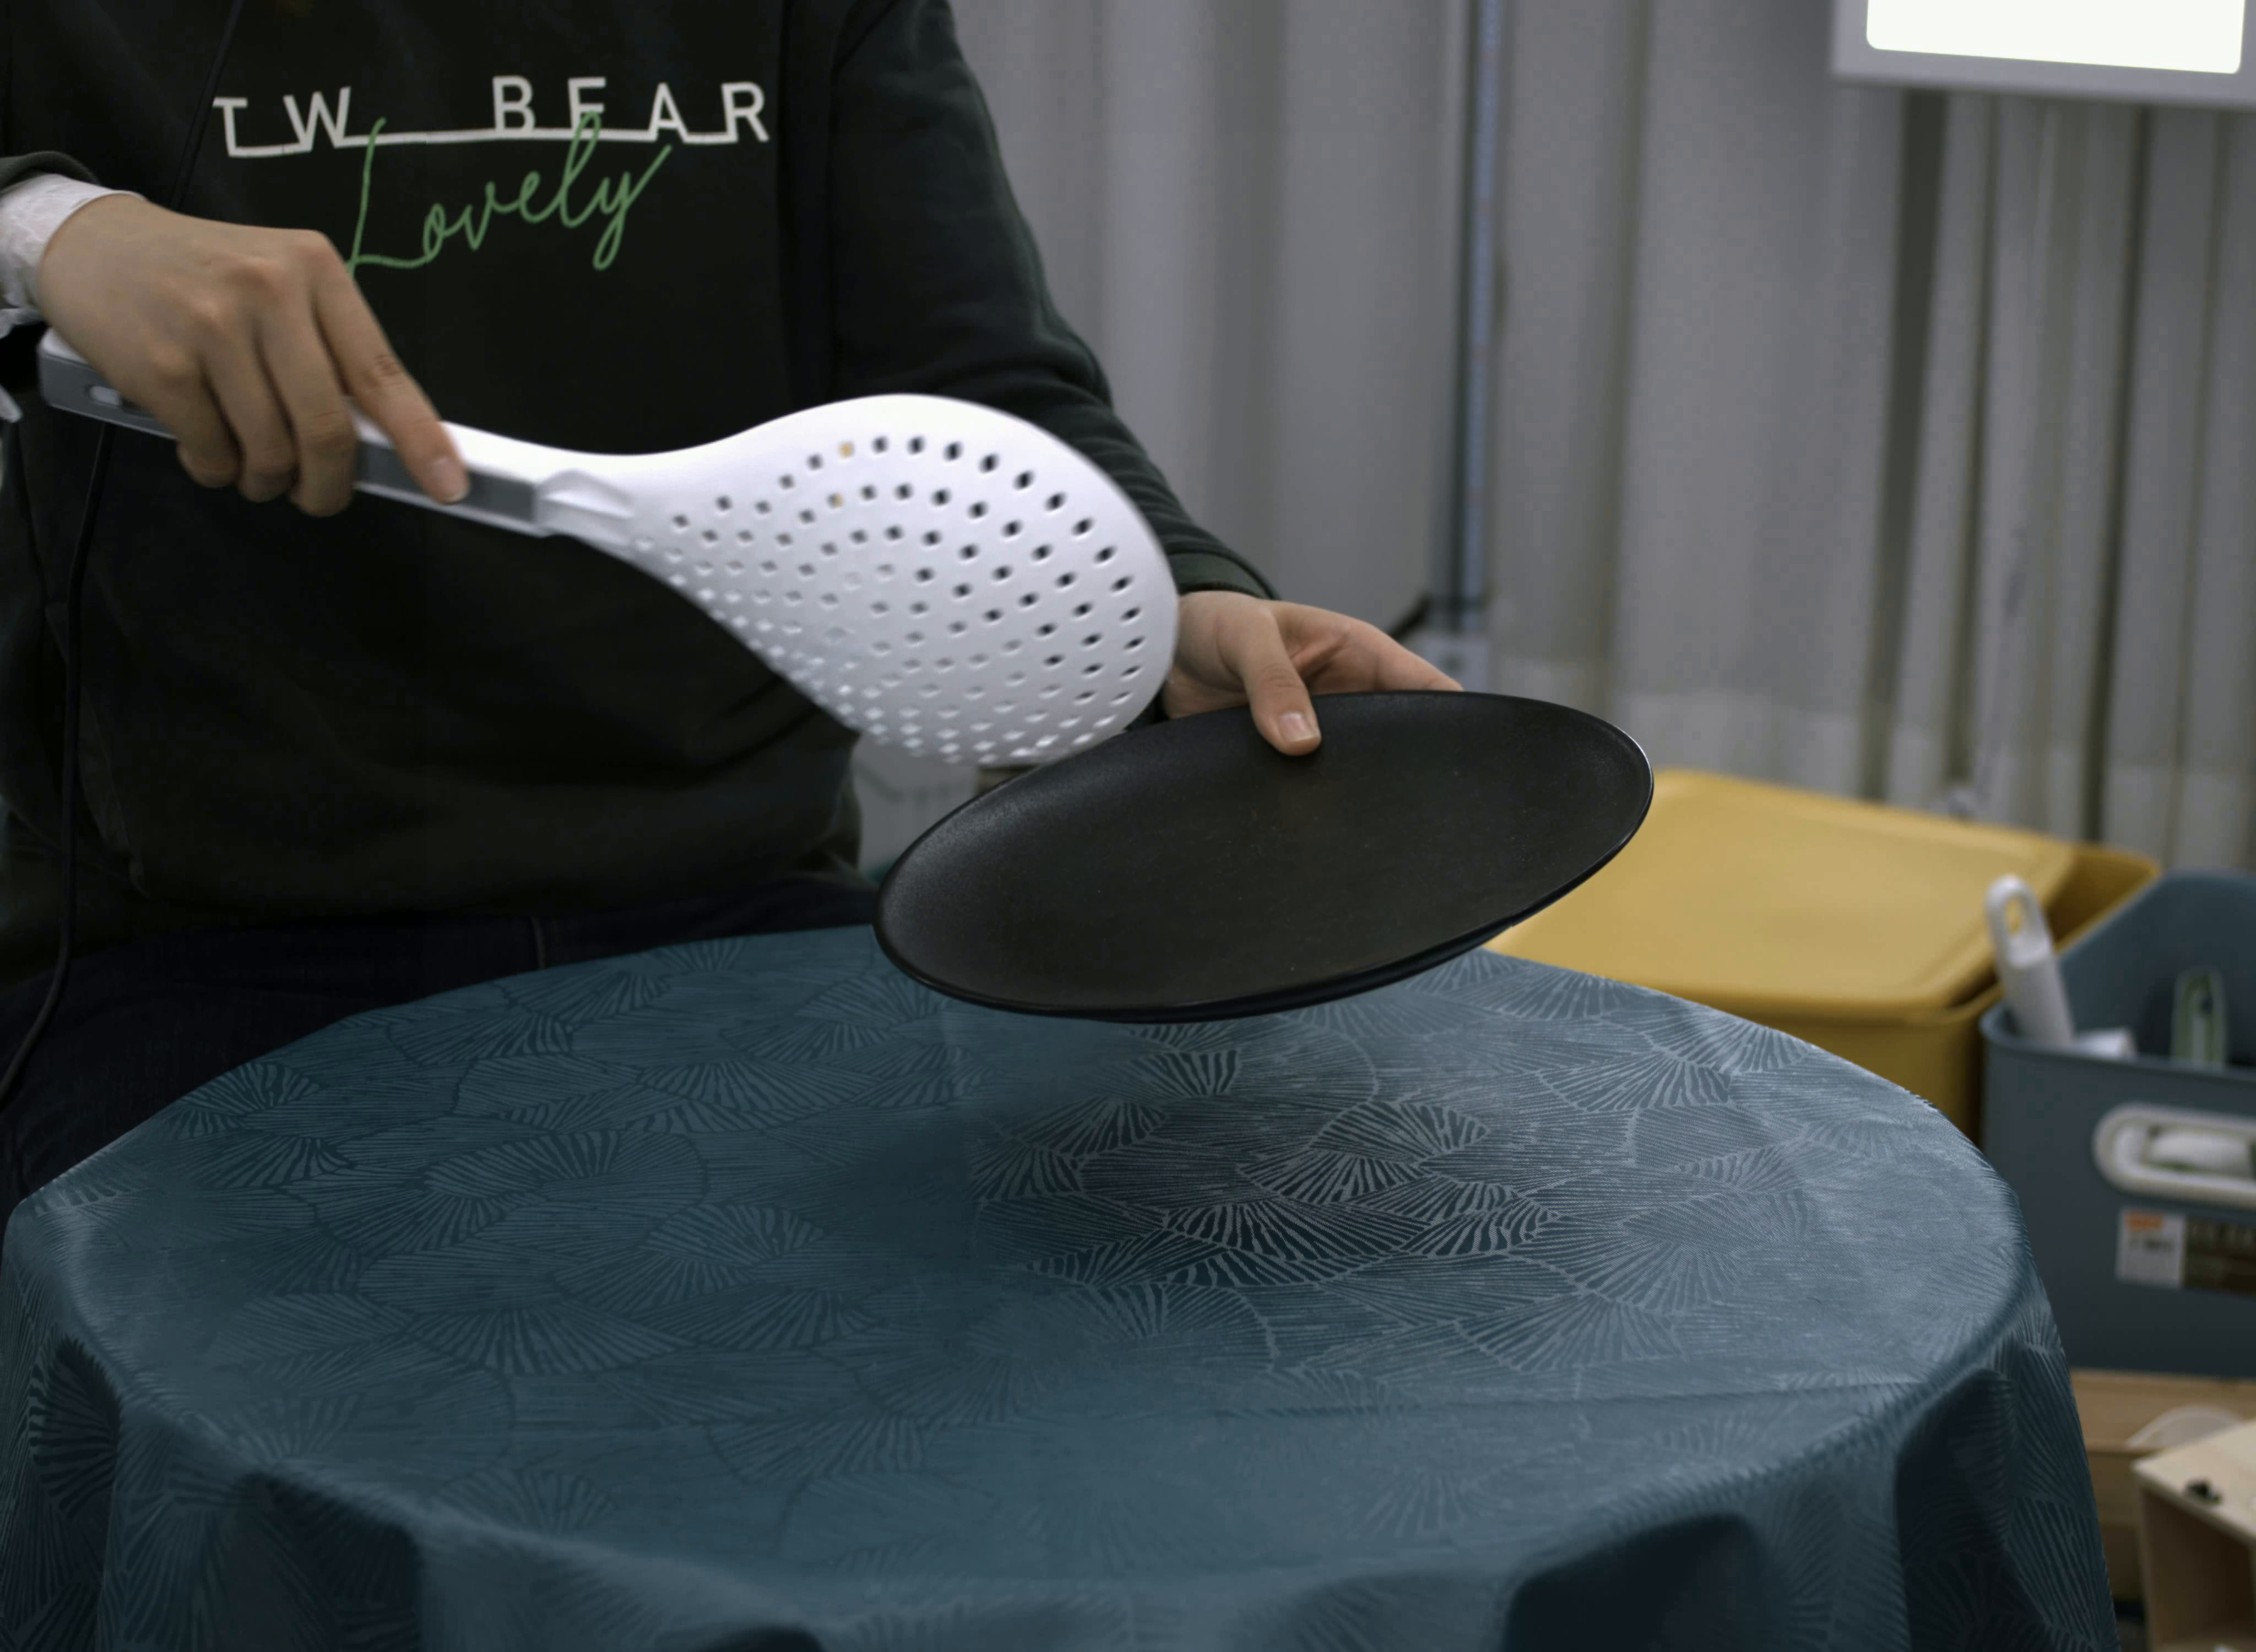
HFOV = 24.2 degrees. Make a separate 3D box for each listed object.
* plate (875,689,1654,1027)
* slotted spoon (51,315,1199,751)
[{"bbox_3d":[0.043,0.013,1.619,0.243,0.023,0.243,-9,21,4],"label":"plate"},{"bbox_3d":[-0.151,-0.099,1.548,0.347,0.137,0.045,17,43,9],"label":"slotted spoon"}]
